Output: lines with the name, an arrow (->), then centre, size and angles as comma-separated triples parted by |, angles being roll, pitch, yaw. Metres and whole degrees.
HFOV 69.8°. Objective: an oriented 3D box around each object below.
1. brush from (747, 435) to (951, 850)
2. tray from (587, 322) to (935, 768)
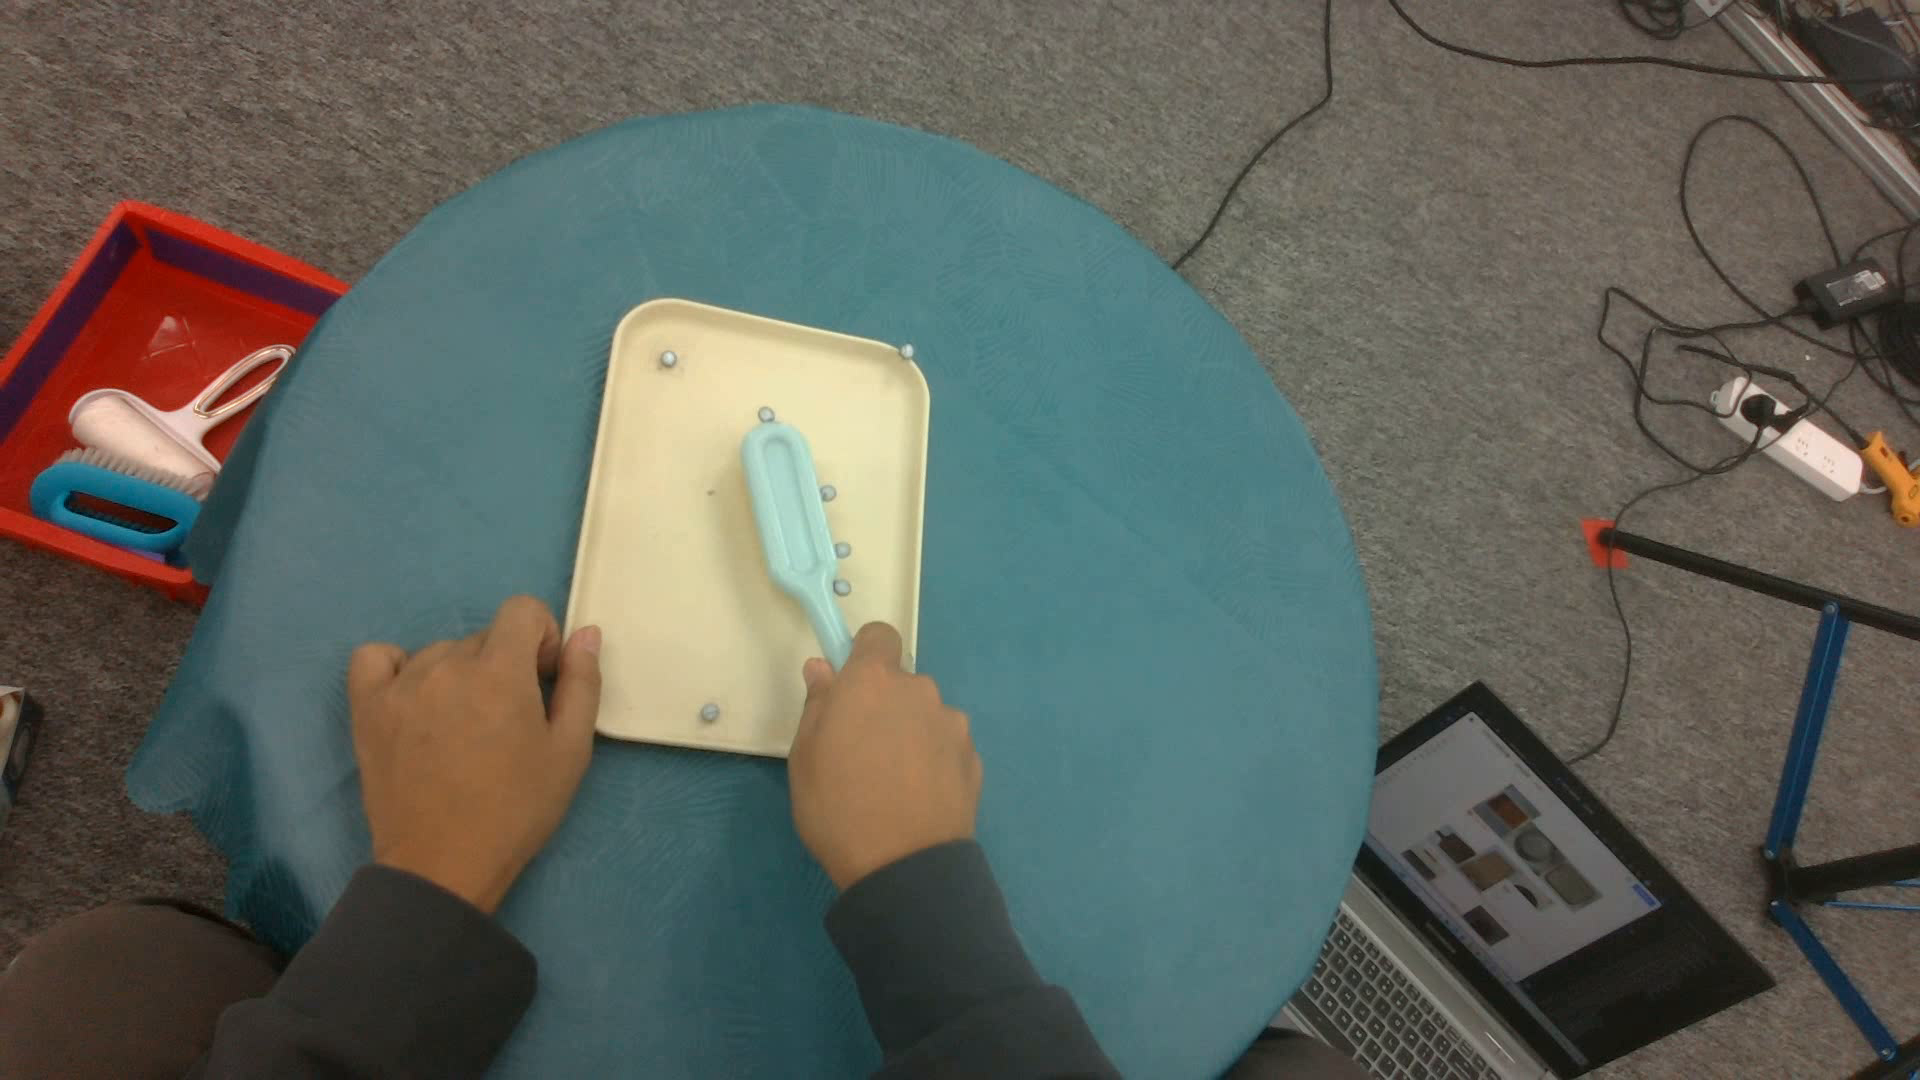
brush -> -0.056, 0.048, 0.672 | 0.038, 0.049, 0.229 | -14, 59, -23
tray -> -0.097, -0.001, 0.713 | 0.171, 0.017, 0.240 | 7, 64, -14
